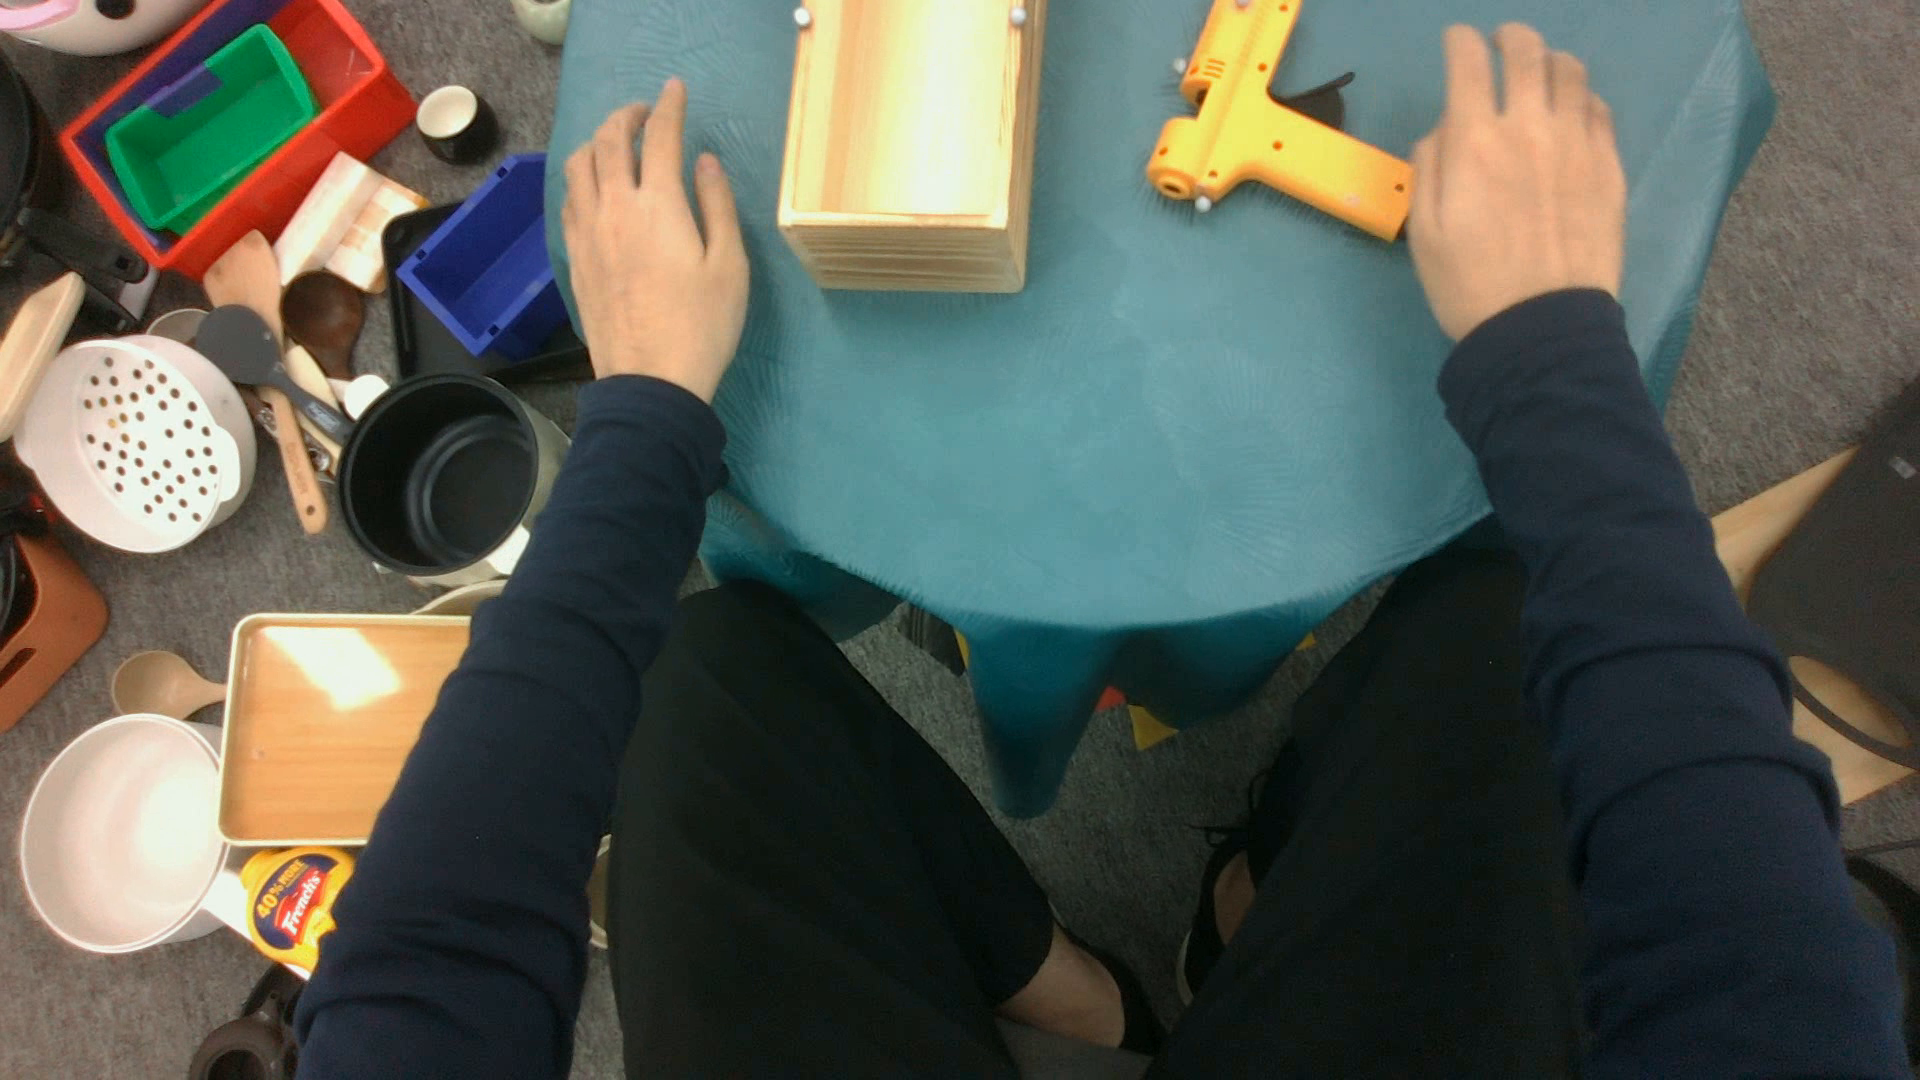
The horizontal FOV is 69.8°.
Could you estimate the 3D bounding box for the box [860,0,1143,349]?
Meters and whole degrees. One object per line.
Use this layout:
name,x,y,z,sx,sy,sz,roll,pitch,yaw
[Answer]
box,0.026,-0.212,0.697,0.107,0.080,0.212,5,76,13

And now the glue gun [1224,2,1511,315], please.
glue gun,0.216,-0.194,0.681,0.133,0.031,0.151,17,81,17
